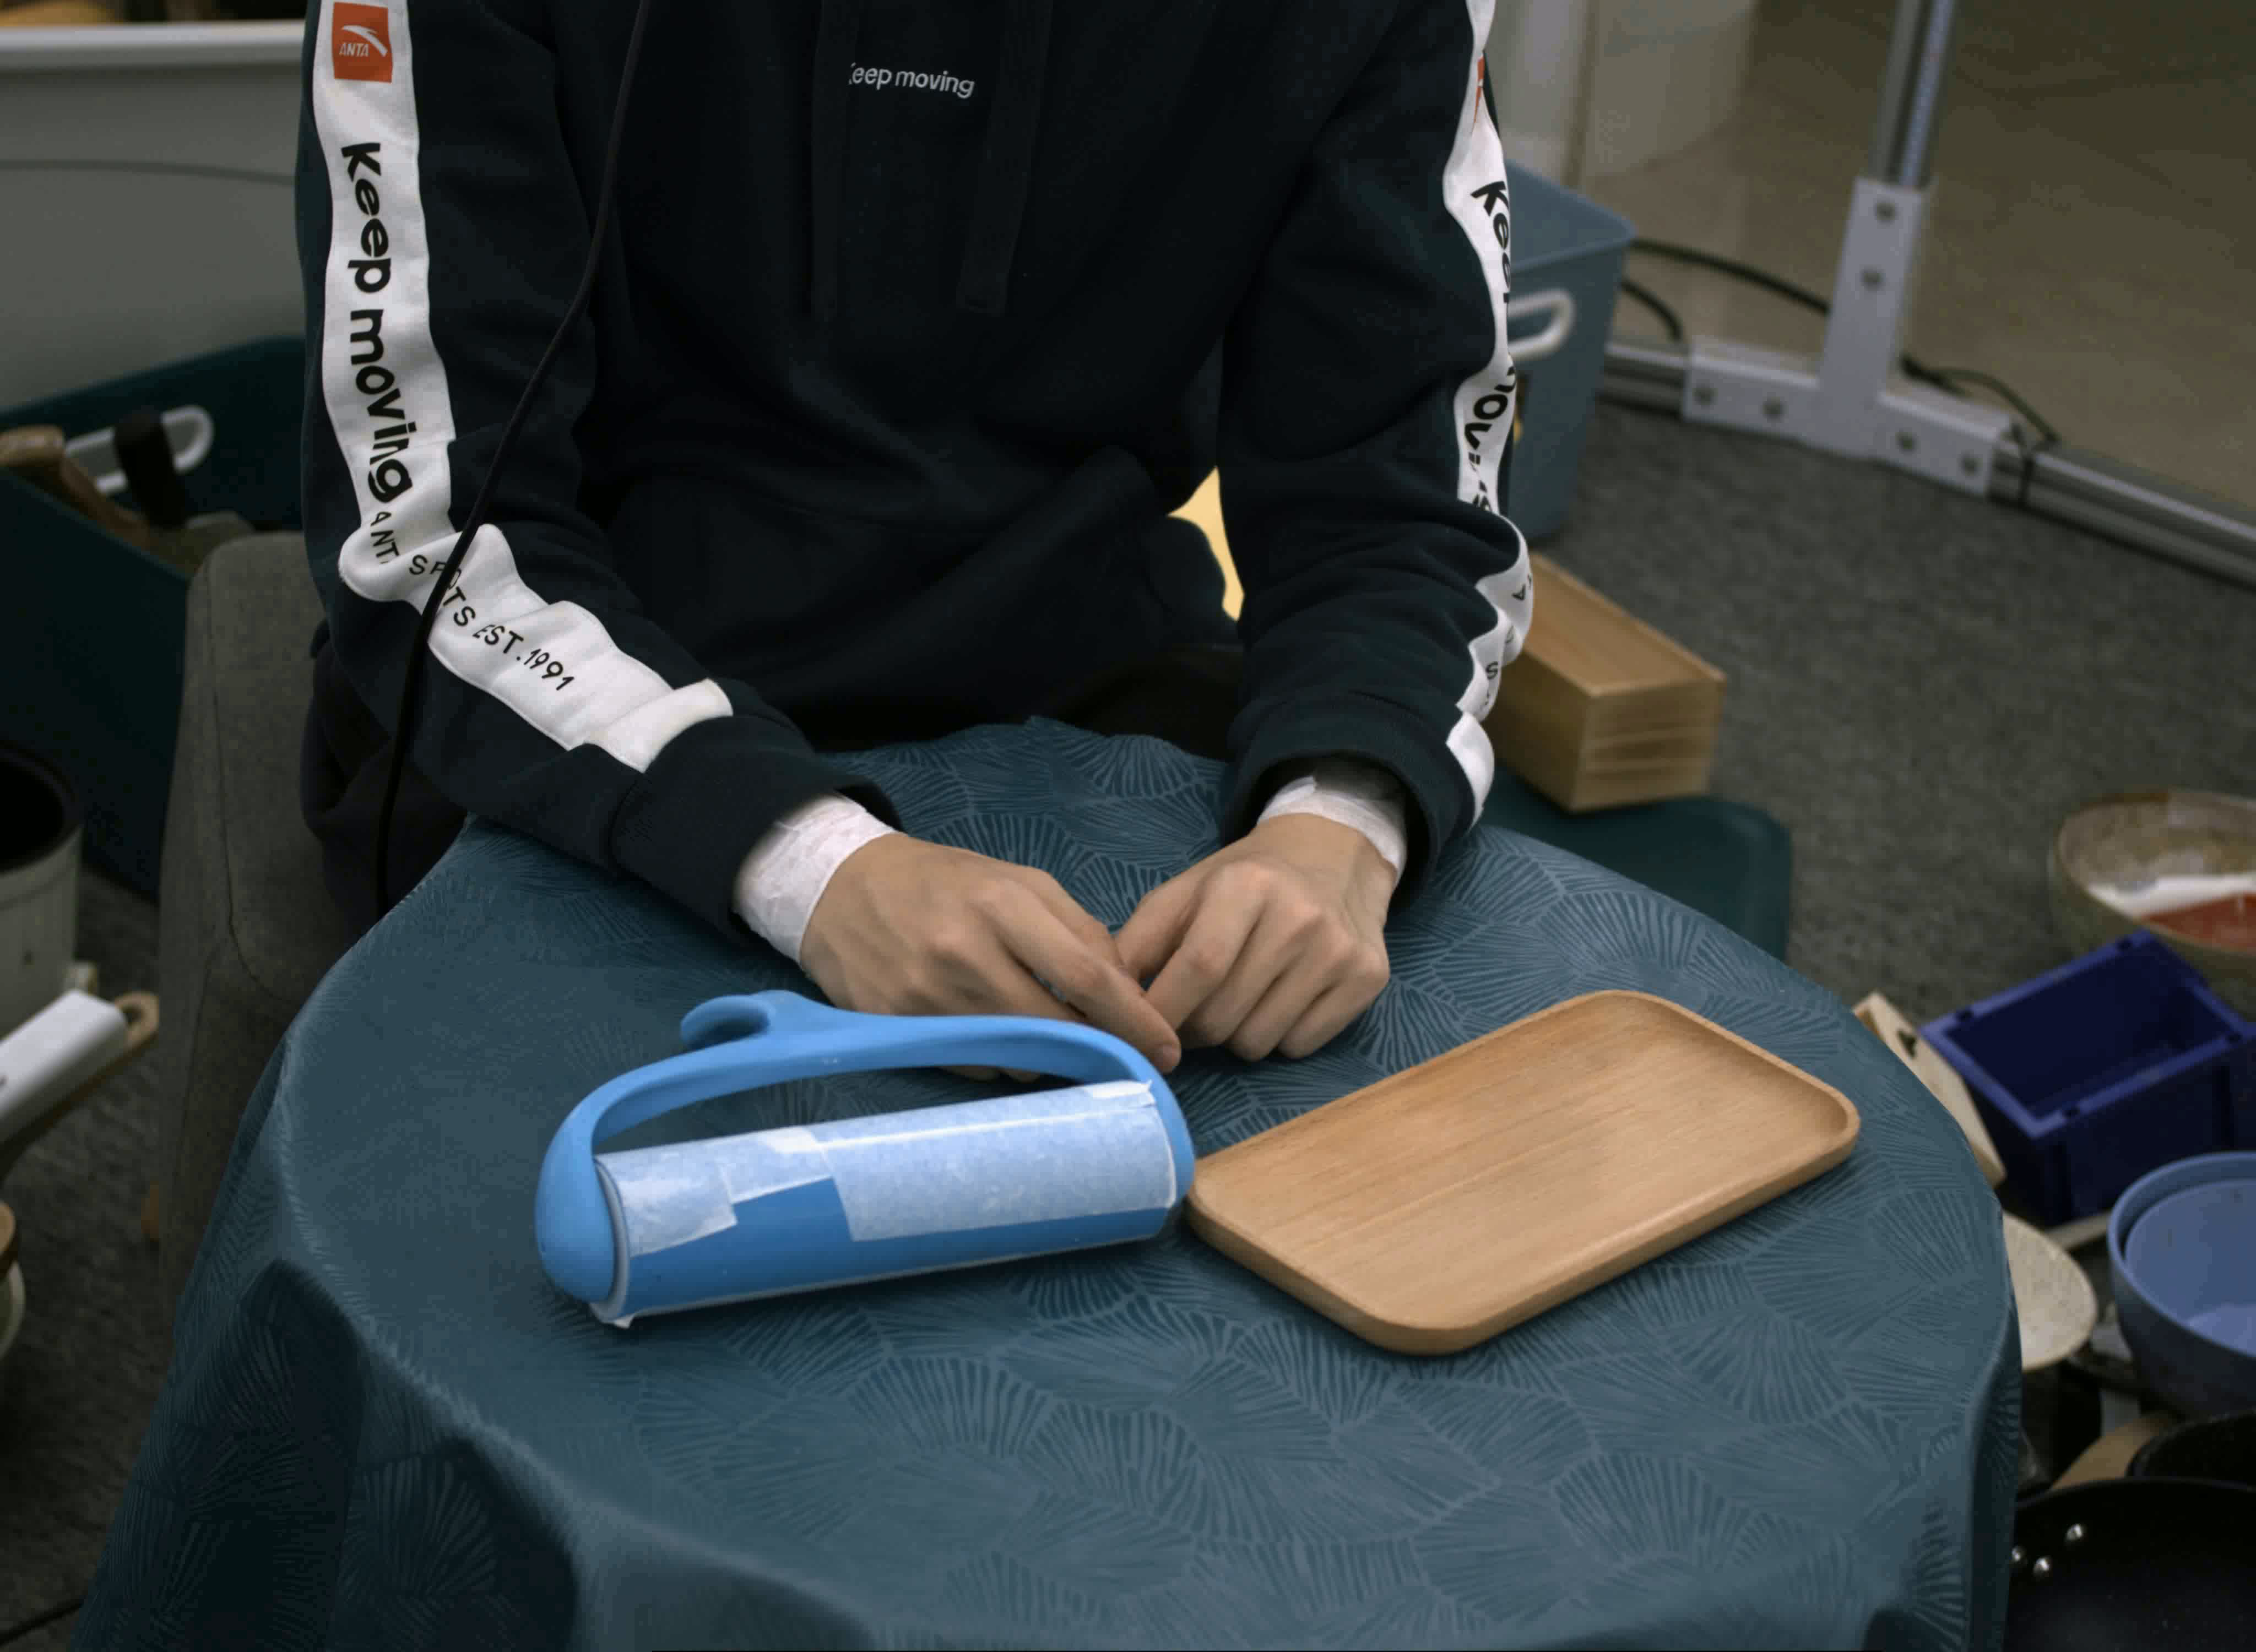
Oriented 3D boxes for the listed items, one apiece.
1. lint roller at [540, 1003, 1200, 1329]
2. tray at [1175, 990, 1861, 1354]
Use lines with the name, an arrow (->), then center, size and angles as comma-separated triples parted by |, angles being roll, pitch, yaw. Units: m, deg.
lint roller -> -0.108, 0.094, 1.771 | 0.227, 0.067, 0.182 | -10, 31, -26
tray -> 0.136, 0.116, 1.824 | 0.249, 0.023, 0.131 | -20, 34, -40
